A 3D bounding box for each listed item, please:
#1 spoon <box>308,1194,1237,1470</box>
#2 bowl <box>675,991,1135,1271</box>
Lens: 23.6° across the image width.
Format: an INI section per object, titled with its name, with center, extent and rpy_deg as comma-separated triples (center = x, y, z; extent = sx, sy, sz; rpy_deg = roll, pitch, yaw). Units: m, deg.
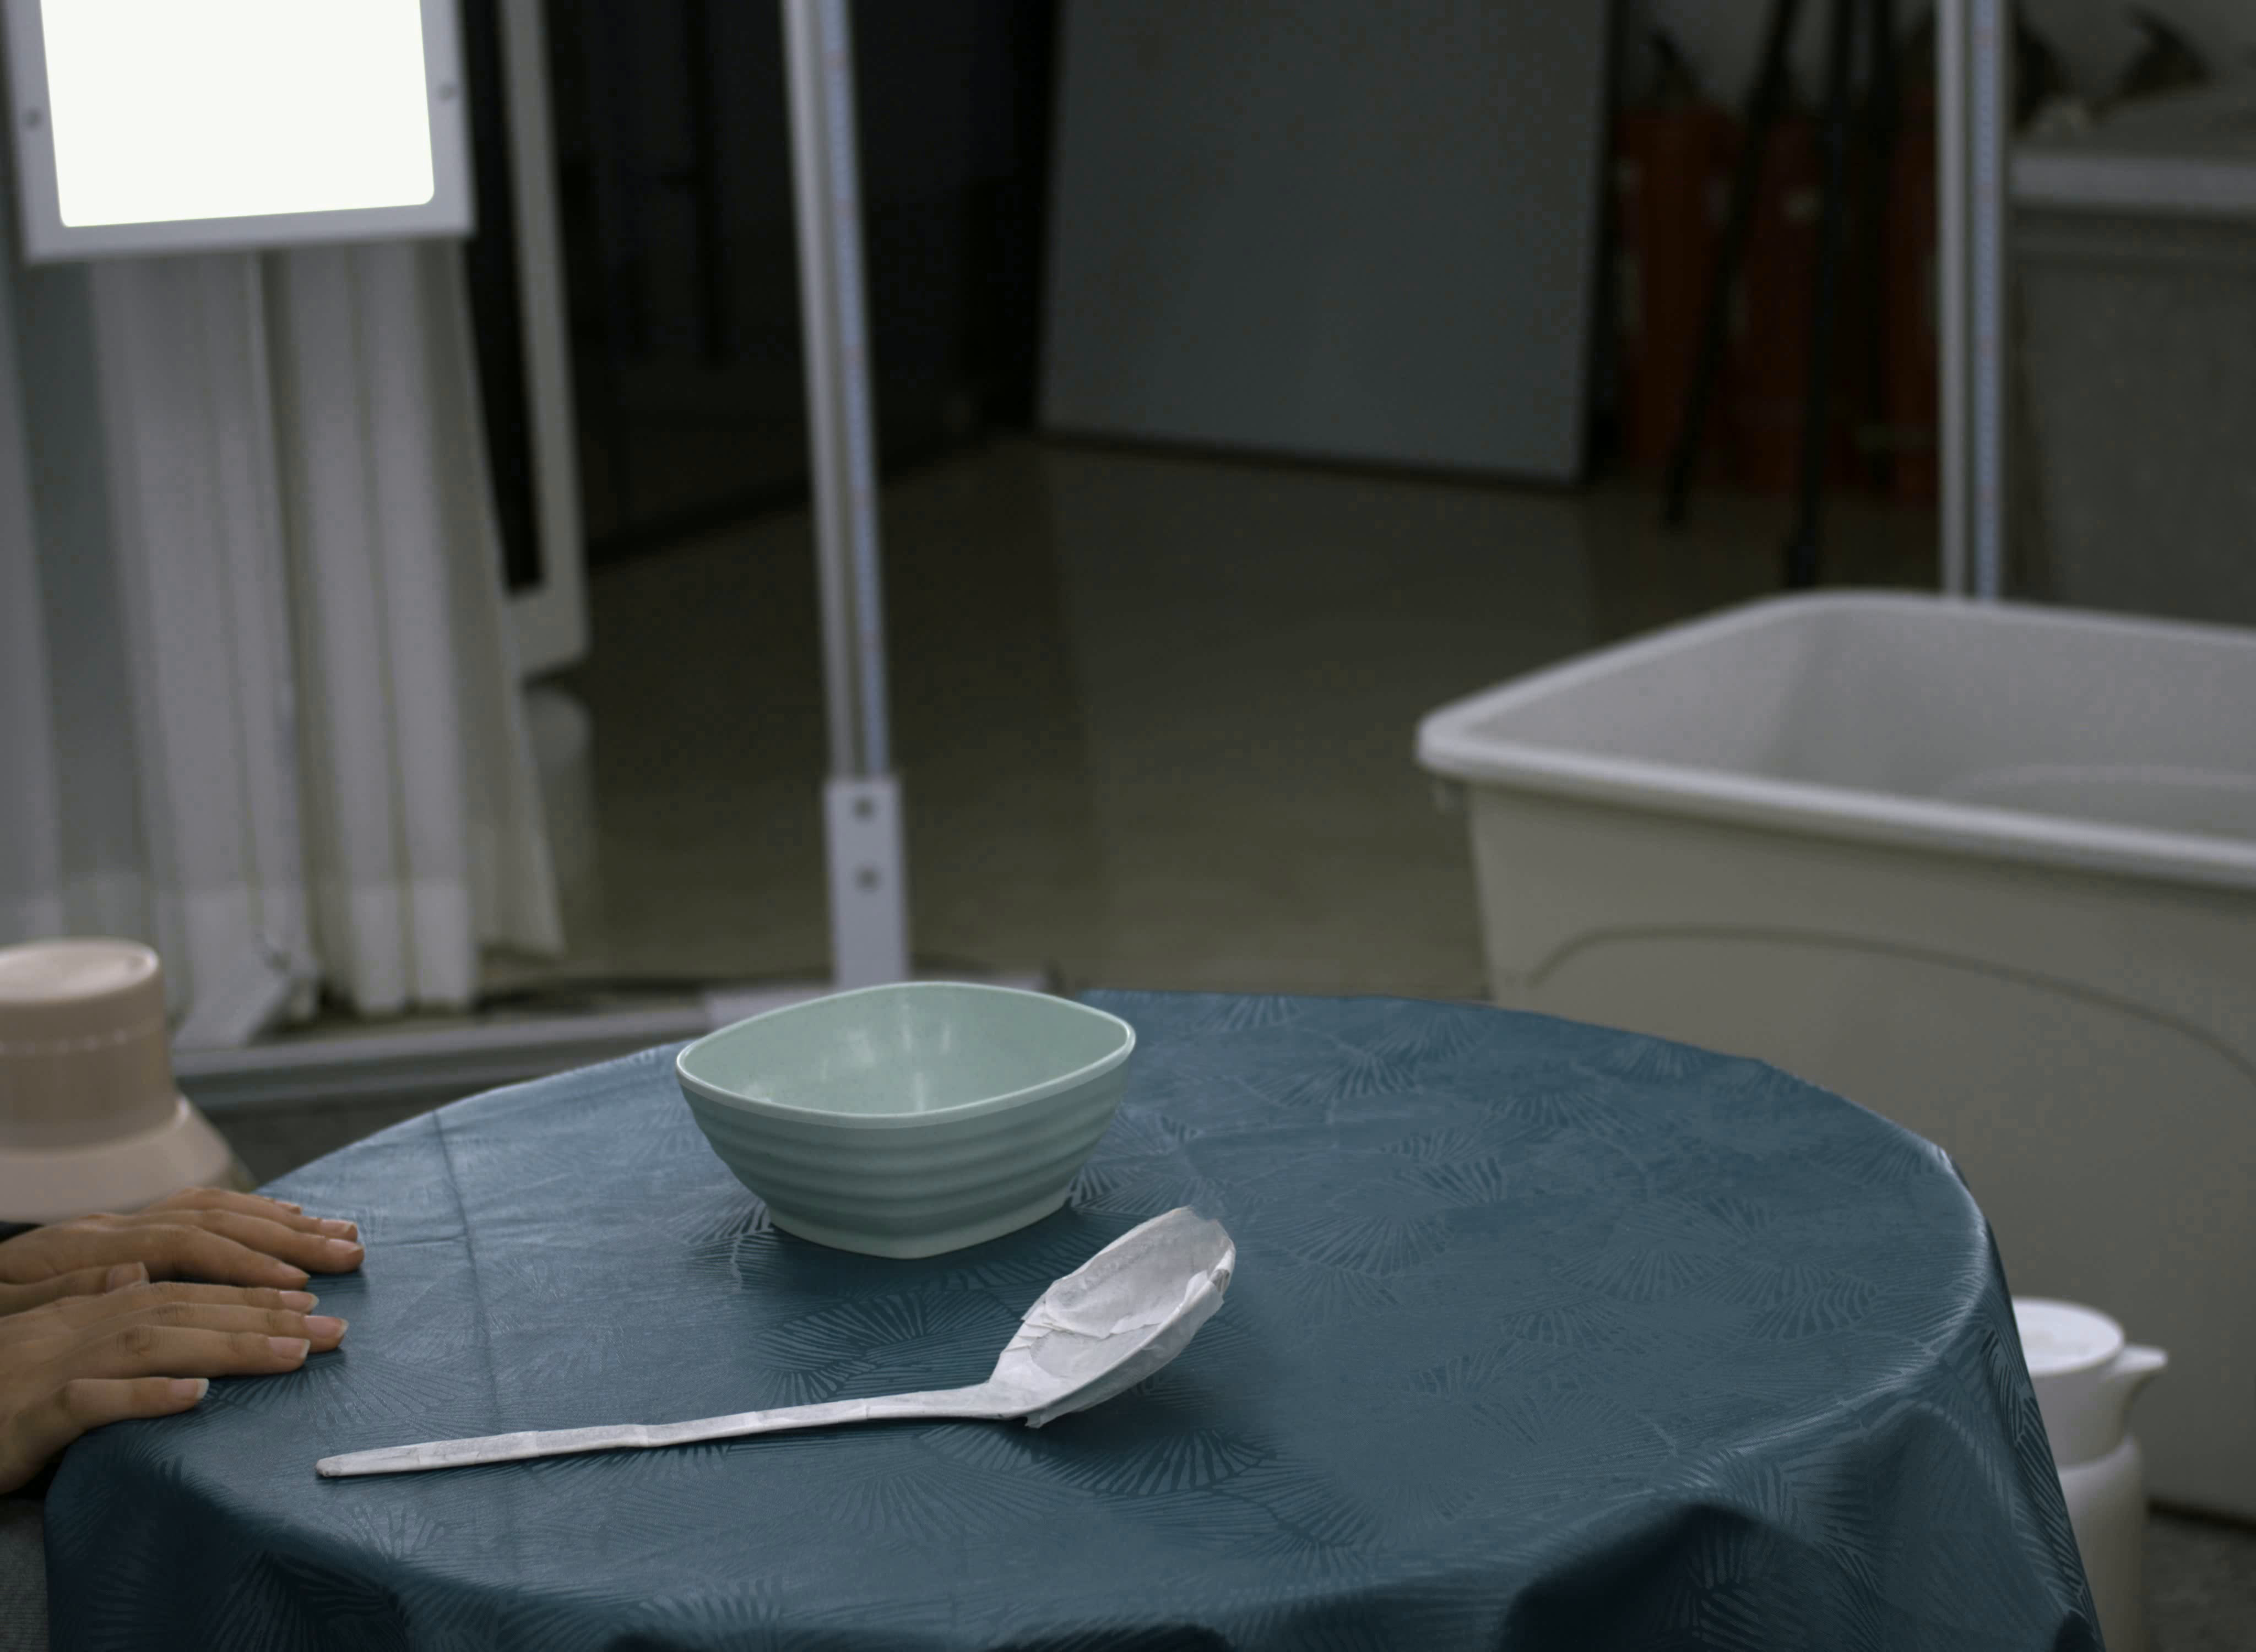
[spoon]
center = -0.103, 0.147, 1.576
extent = 0.274, 0.060, 0.101
rpy_deg = -4, 9, 0
[bowl]
center = -0.071, 0.102, 1.757
extent = 0.149, 0.059, 0.152
rpy_deg = -4, 14, 0
